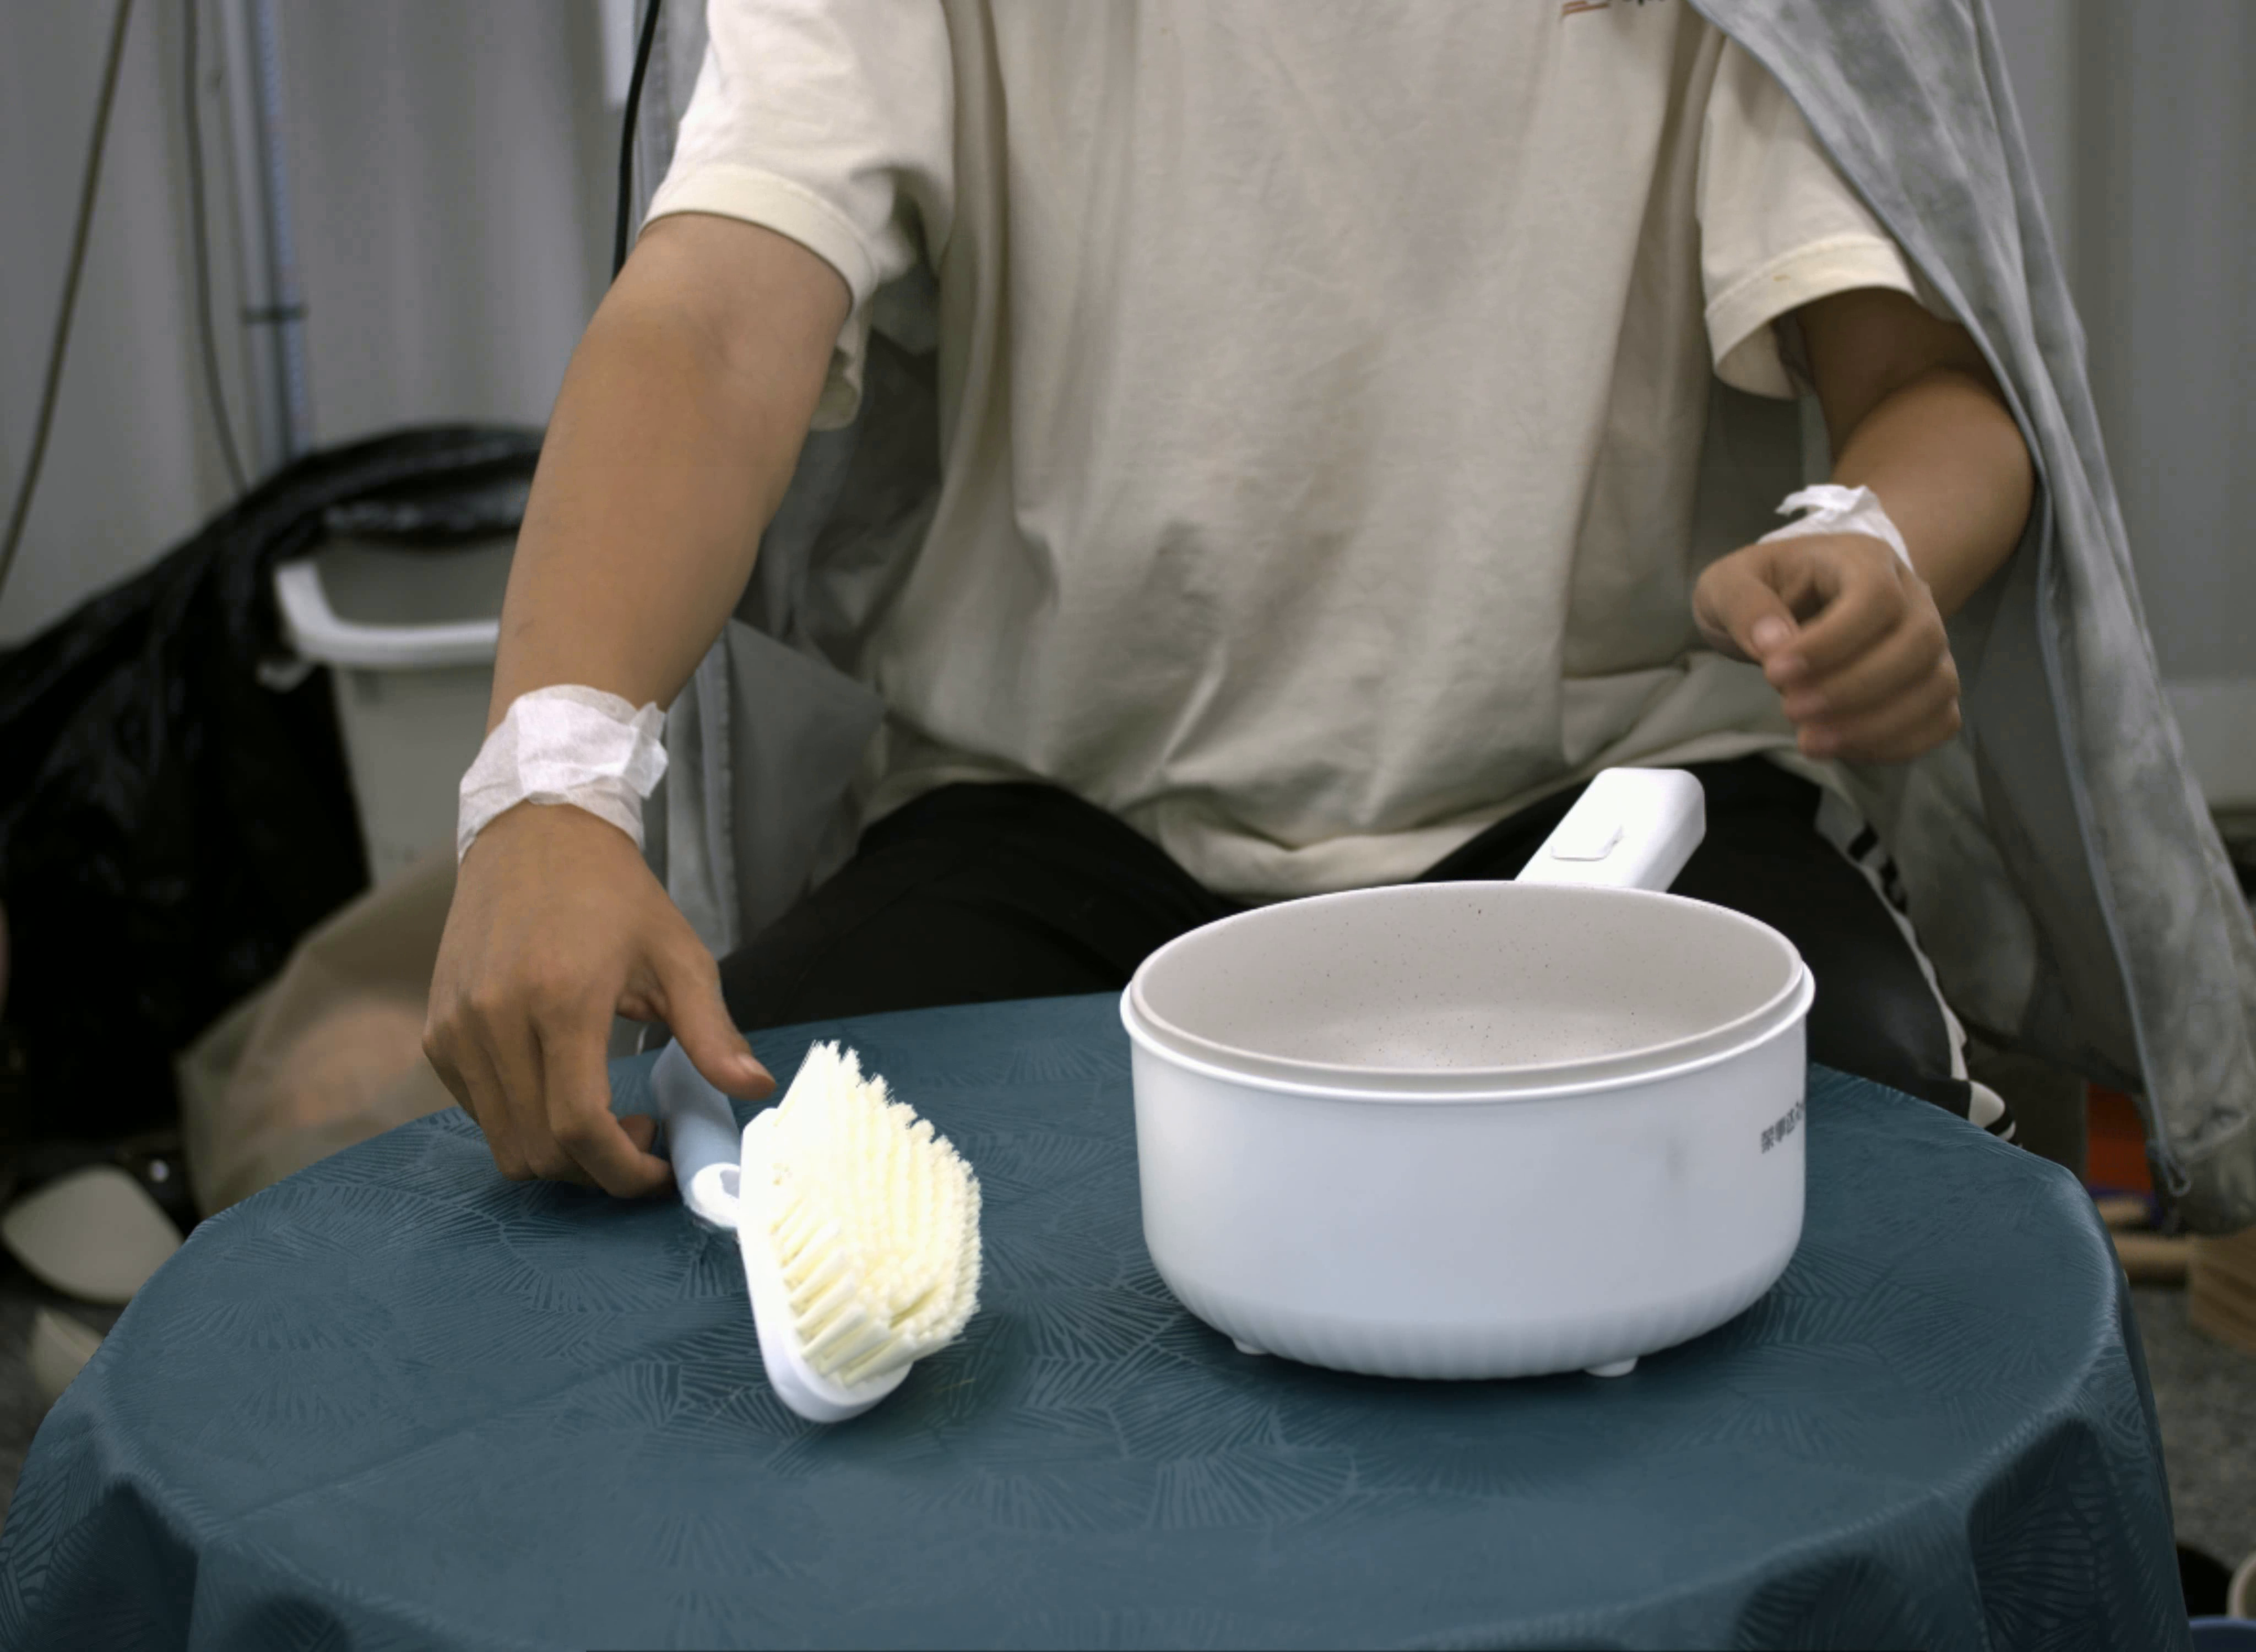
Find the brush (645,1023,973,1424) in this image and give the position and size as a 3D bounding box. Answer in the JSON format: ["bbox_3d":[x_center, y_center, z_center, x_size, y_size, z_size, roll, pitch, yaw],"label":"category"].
[{"bbox_3d":[-0.098,0.092,1.669,0.084,0.082,0.328,-9,16,-7],"label":"brush"}]

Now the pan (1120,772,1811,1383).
[{"bbox_3d":[0.122,0.072,1.667,0.201,0.102,0.356,1,15,17],"label":"pan"}]
